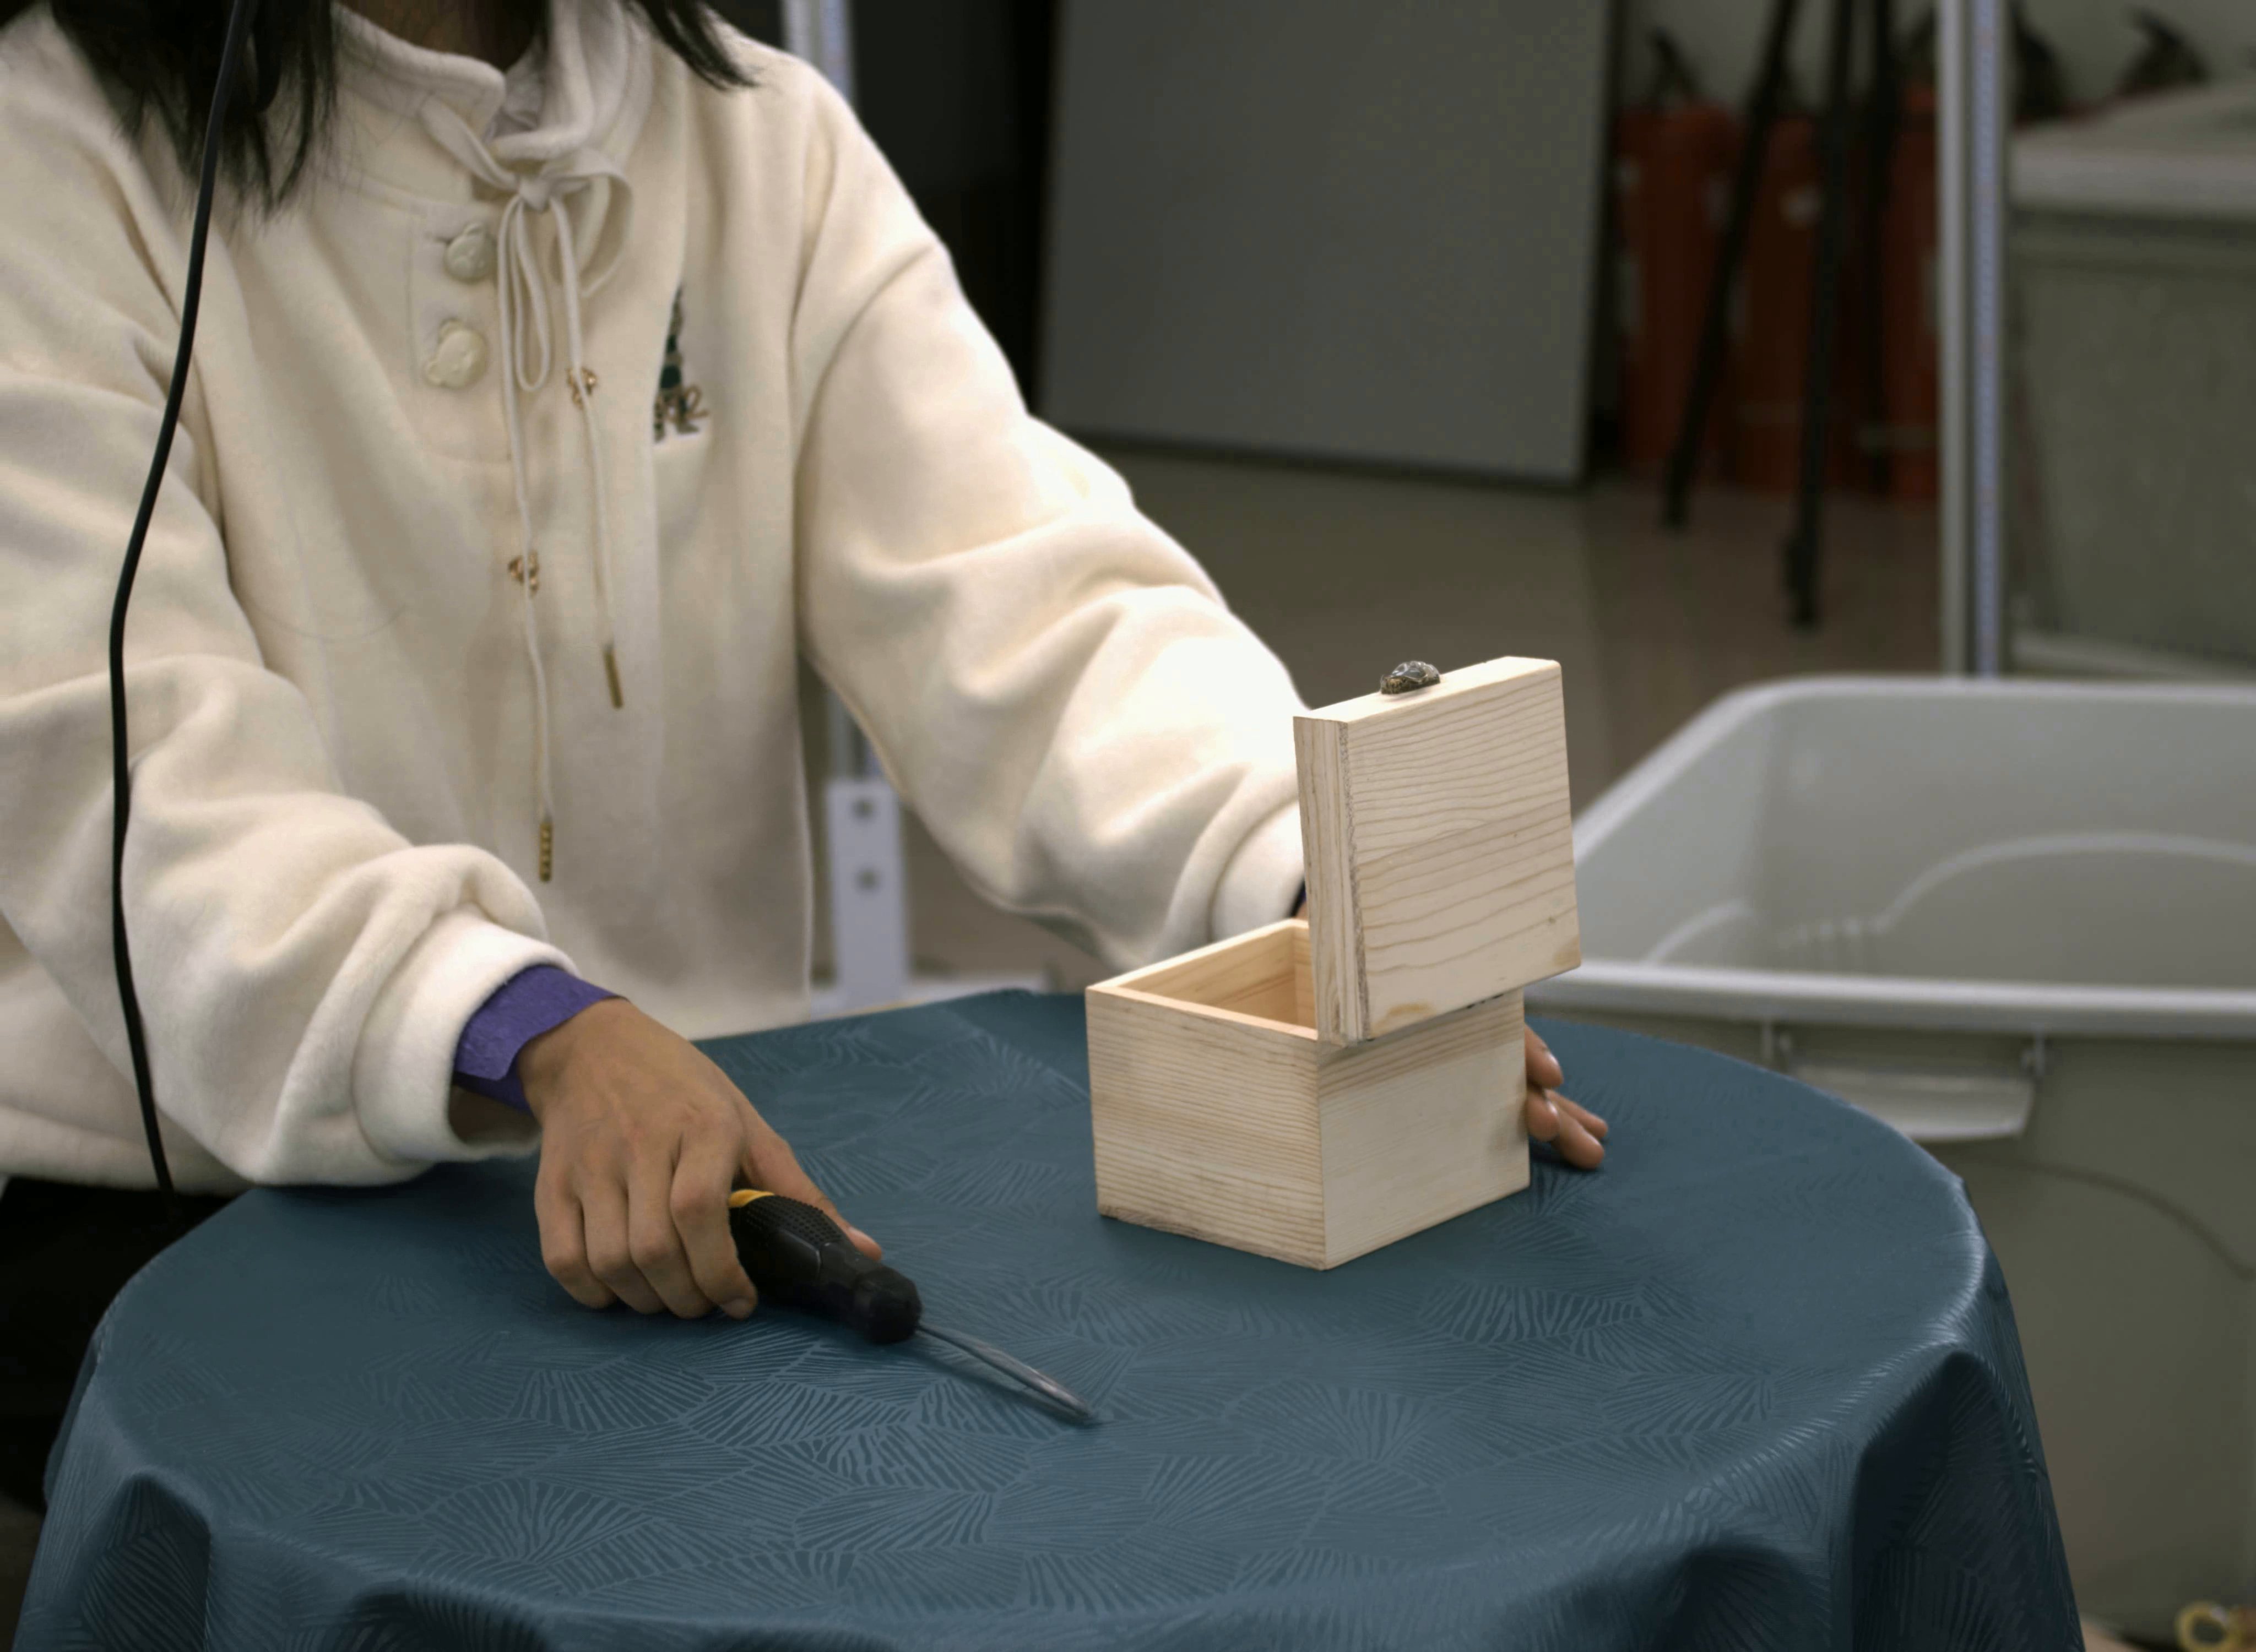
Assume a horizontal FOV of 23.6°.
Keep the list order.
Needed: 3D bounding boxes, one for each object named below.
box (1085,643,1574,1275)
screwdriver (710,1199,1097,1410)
[{"bbox_3d":[0.061,0.034,1.718,0.100,0.186,0.135,-17,20,-42],"label":"box"},{"bbox_3d":[-0.071,0.148,1.634,0.031,0.032,0.200,-11,18,-31],"label":"screwdriver"}]
